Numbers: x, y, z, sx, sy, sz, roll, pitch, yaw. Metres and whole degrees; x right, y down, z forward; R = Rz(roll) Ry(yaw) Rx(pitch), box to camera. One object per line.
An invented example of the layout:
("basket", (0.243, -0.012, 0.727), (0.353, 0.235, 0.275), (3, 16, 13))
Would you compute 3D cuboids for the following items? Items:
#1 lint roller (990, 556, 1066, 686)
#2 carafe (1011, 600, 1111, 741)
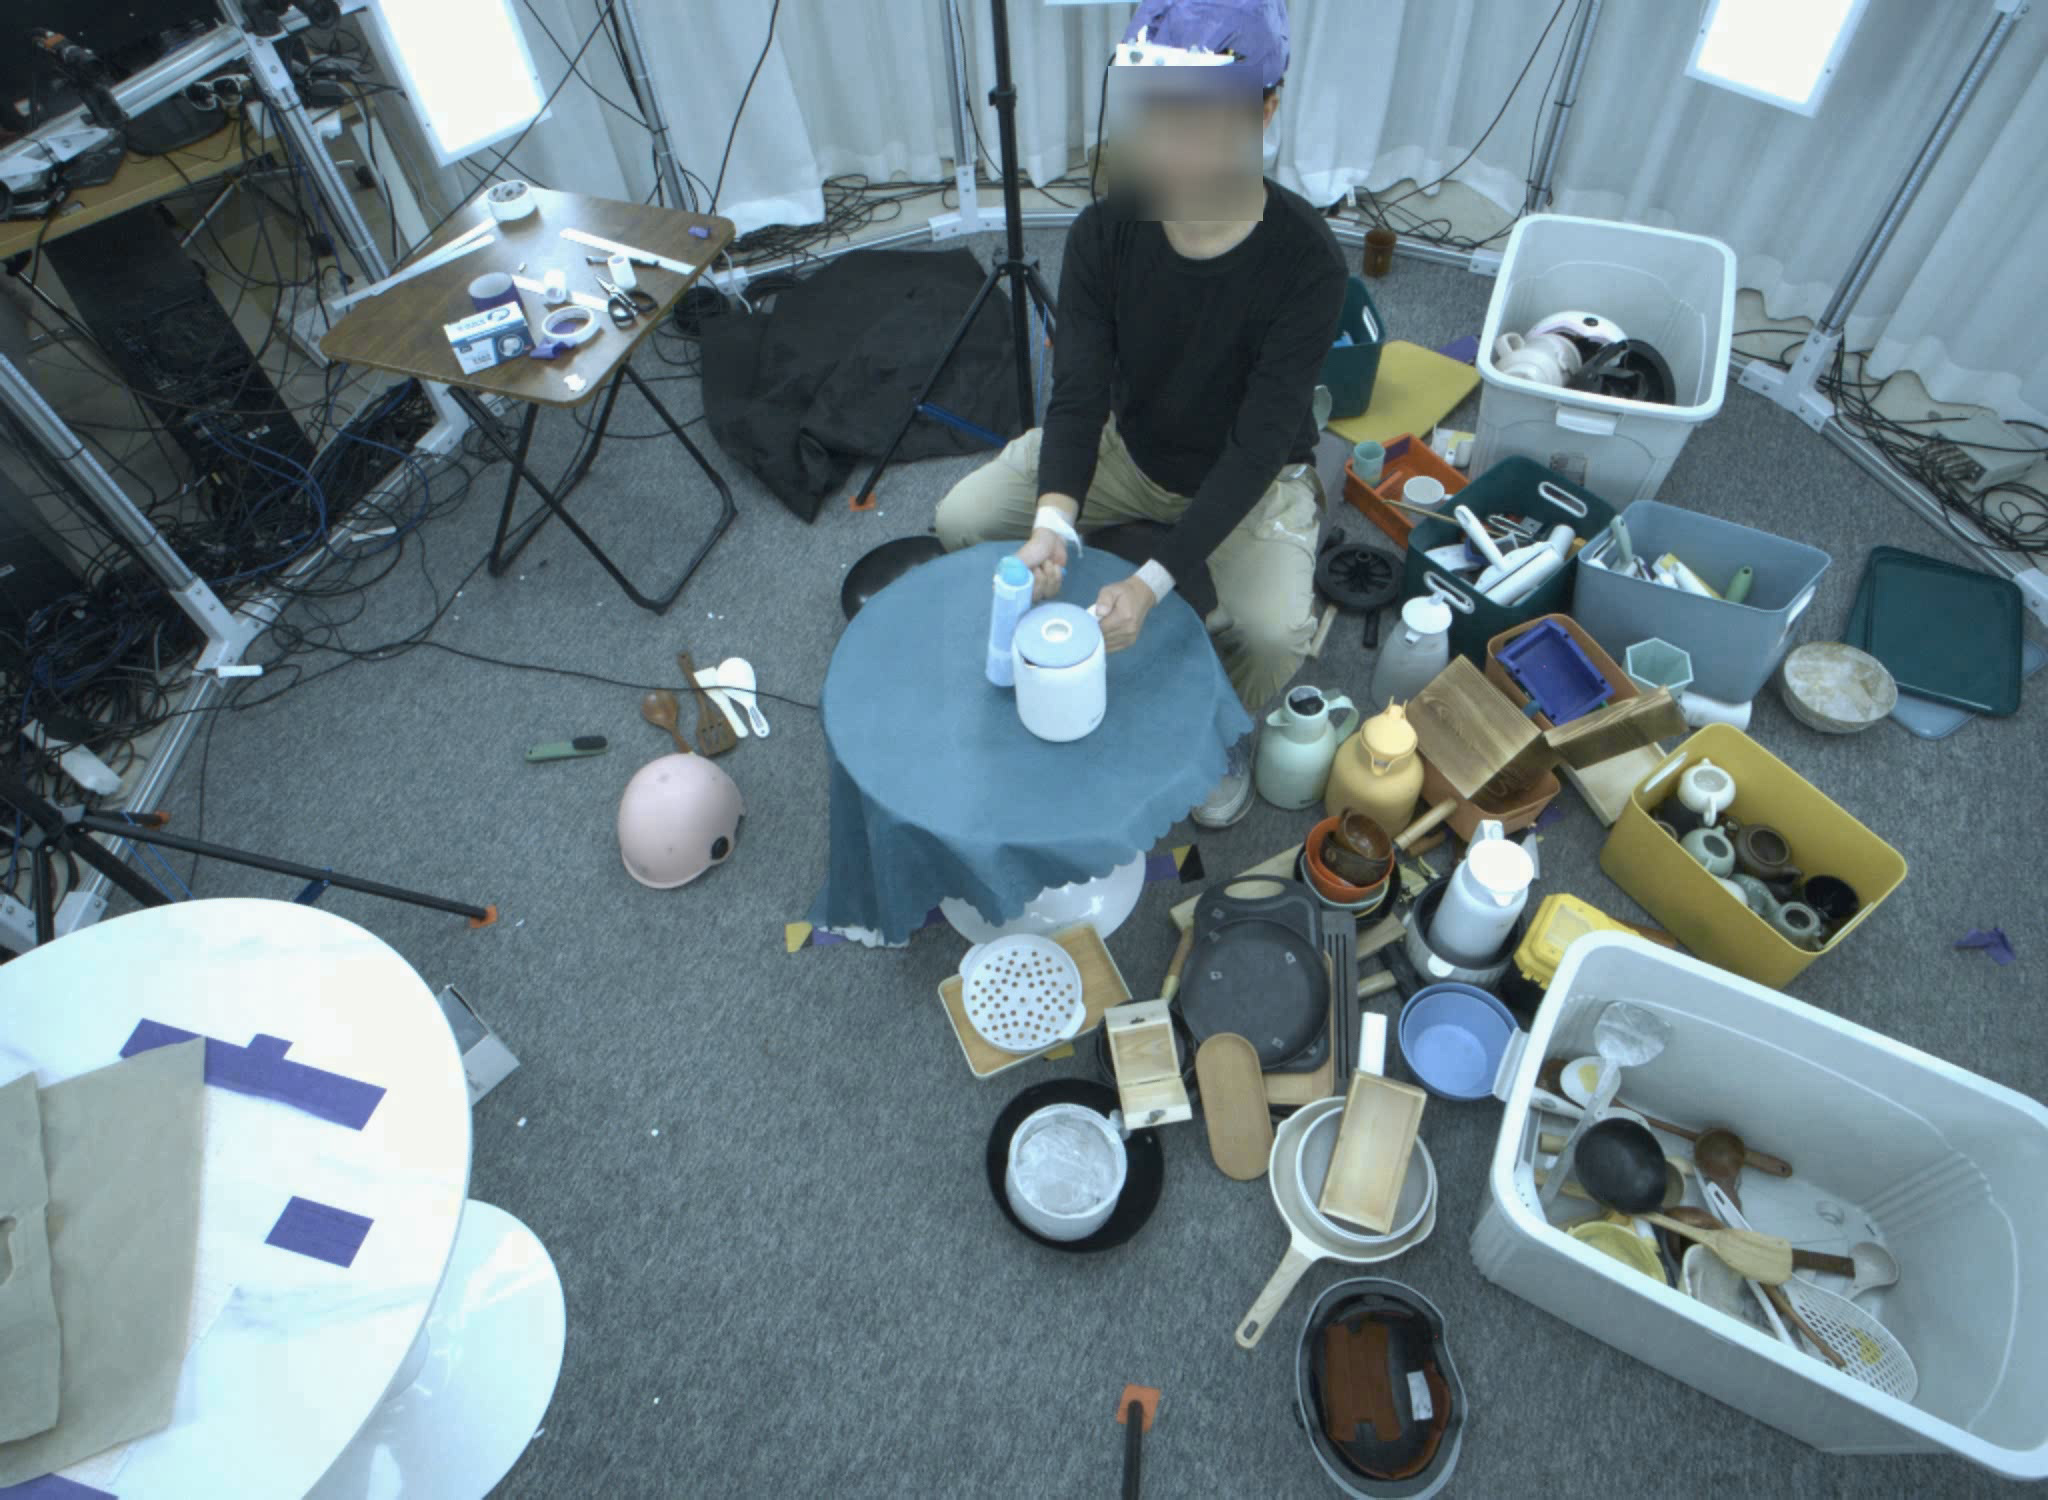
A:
("lint roller", (0.001, -0.218, 1.803), (0.067, 0.230, 0.180), (18, 48, 11))
("carafe", (0.065, -0.127, 1.769), (0.130, 0.184, 0.192), (33, 60, 23))
